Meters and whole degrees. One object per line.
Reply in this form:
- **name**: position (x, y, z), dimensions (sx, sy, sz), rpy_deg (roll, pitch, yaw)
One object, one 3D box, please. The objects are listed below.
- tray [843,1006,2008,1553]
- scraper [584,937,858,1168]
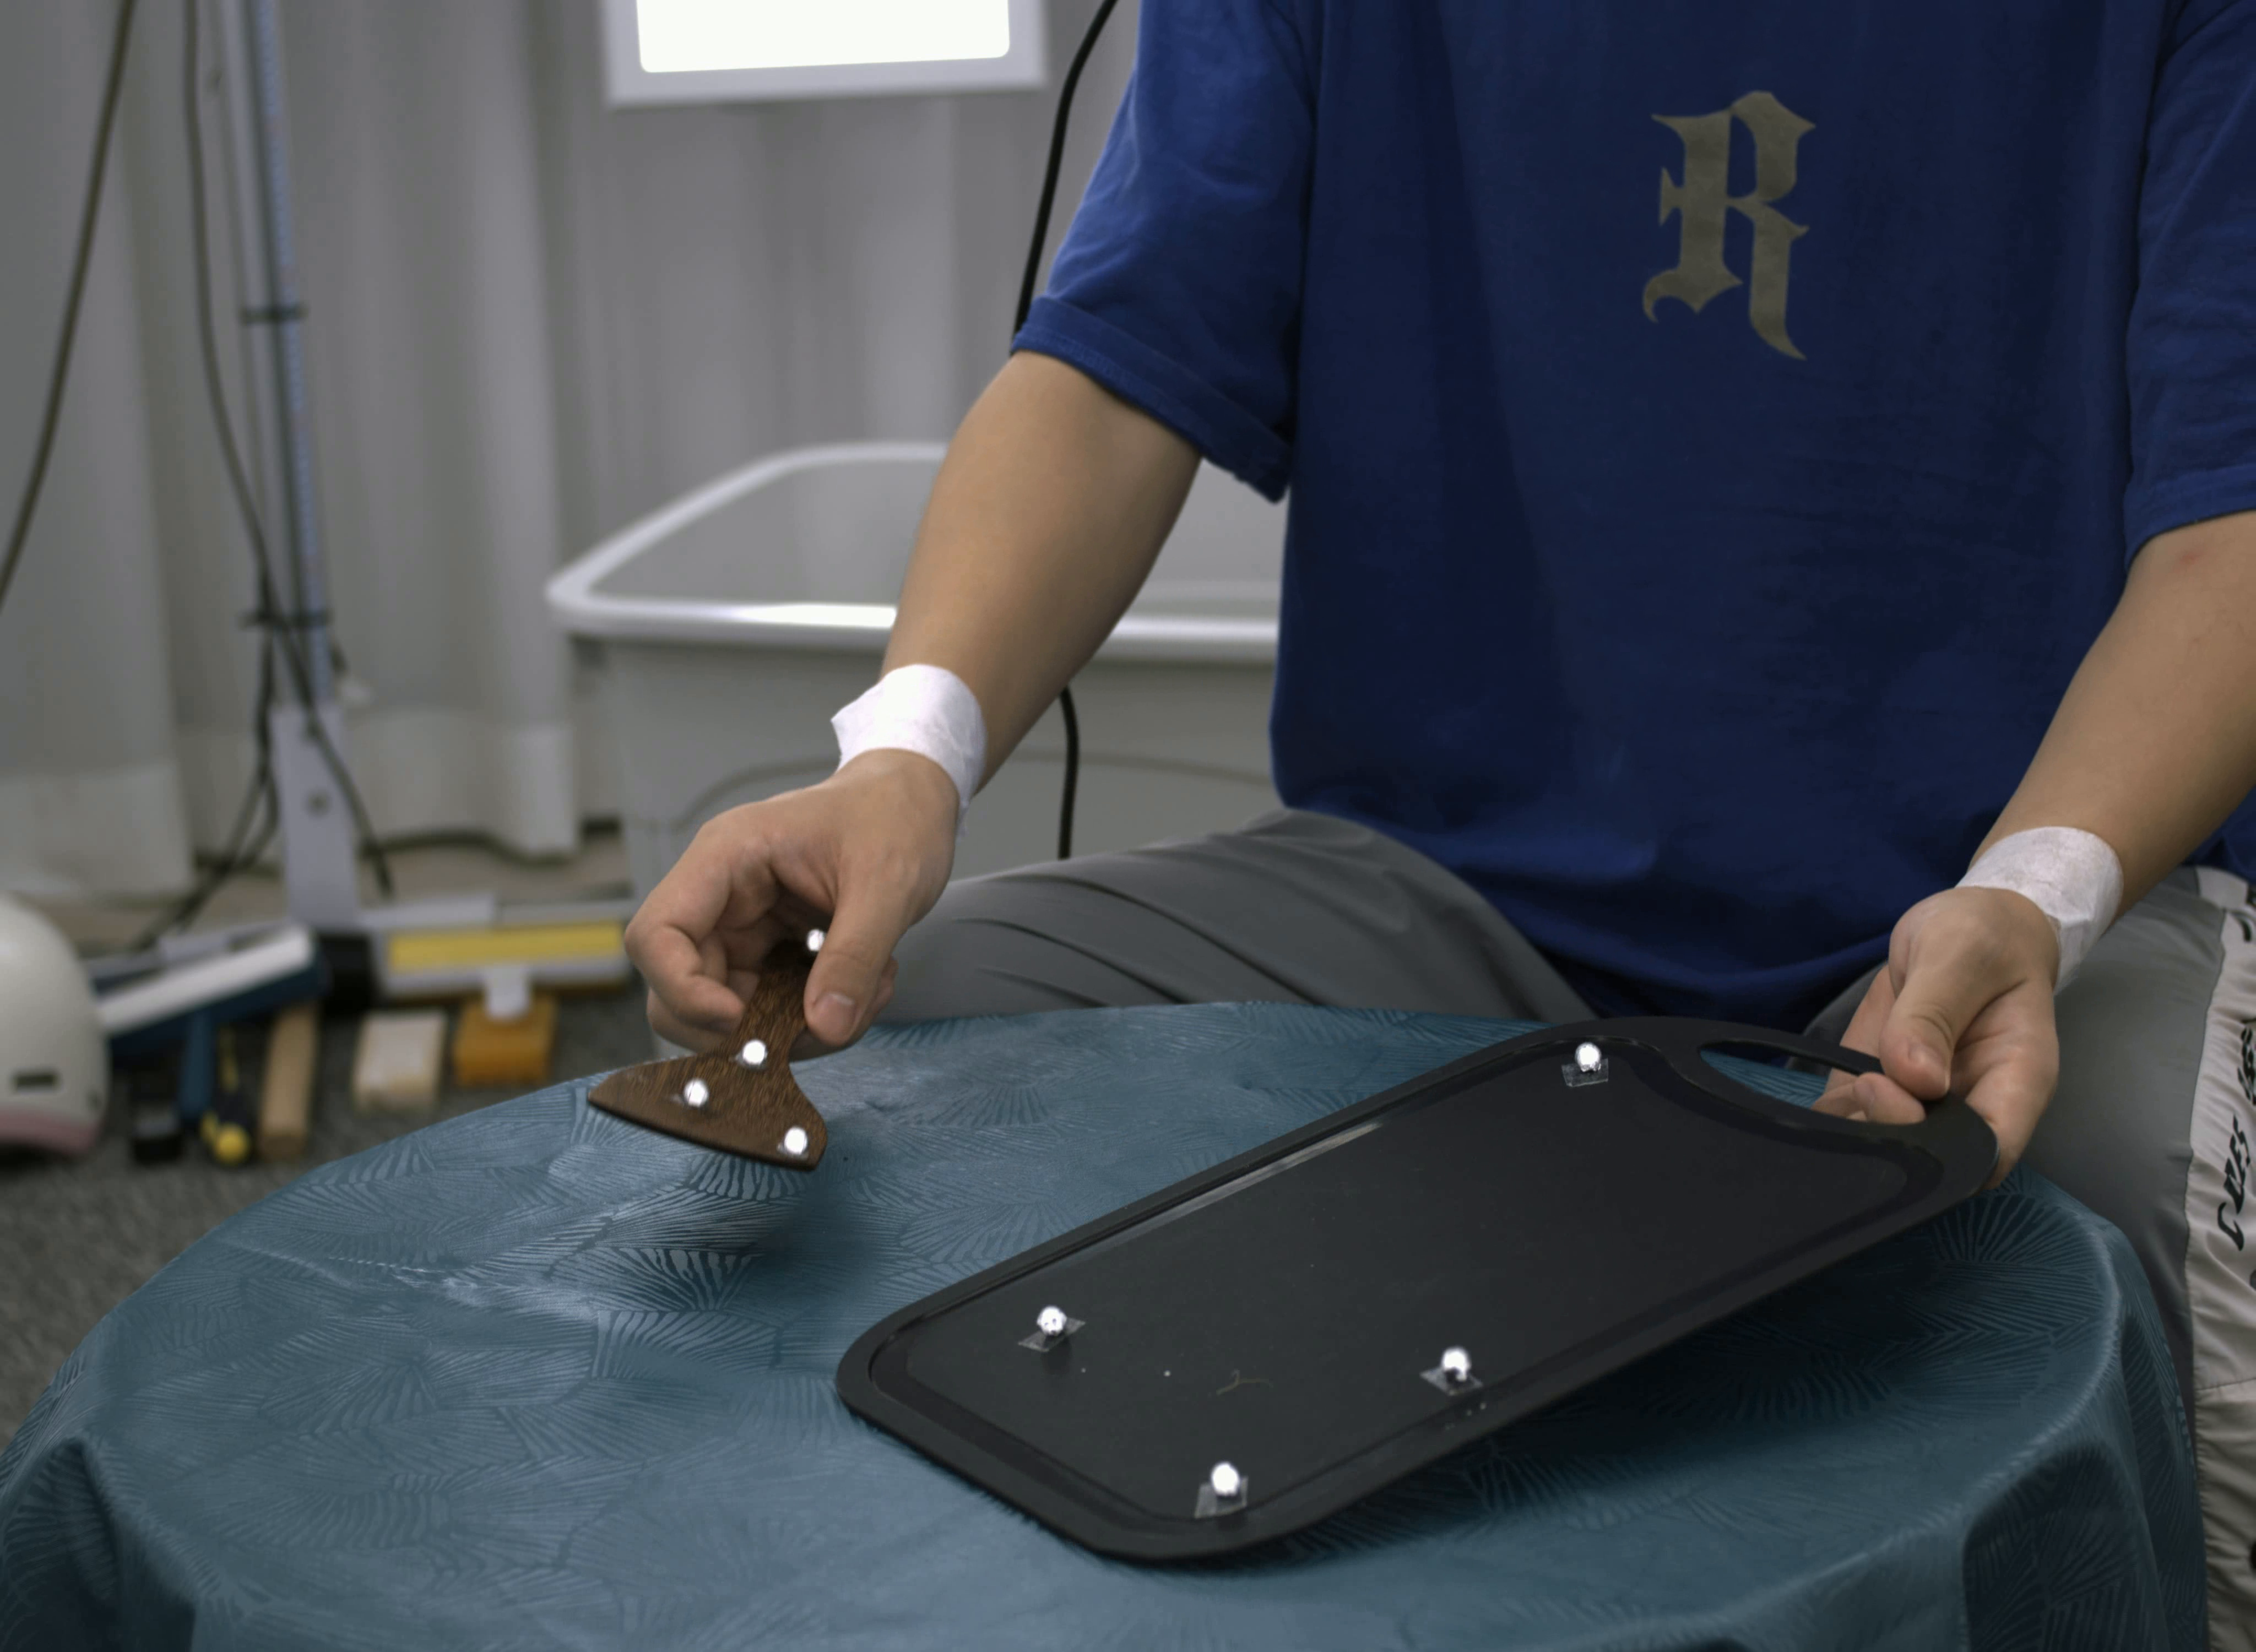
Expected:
- **tray**: position (0.090, 0.118, 1.553), dimensions (0.325, 0.010, 0.212), rpy_deg (-22, 22, -27)
- **scraper**: position (-0.117, 0.068, 1.738), dimensions (0.076, 0.011, 0.212), rpy_deg (19, 16, 3)
